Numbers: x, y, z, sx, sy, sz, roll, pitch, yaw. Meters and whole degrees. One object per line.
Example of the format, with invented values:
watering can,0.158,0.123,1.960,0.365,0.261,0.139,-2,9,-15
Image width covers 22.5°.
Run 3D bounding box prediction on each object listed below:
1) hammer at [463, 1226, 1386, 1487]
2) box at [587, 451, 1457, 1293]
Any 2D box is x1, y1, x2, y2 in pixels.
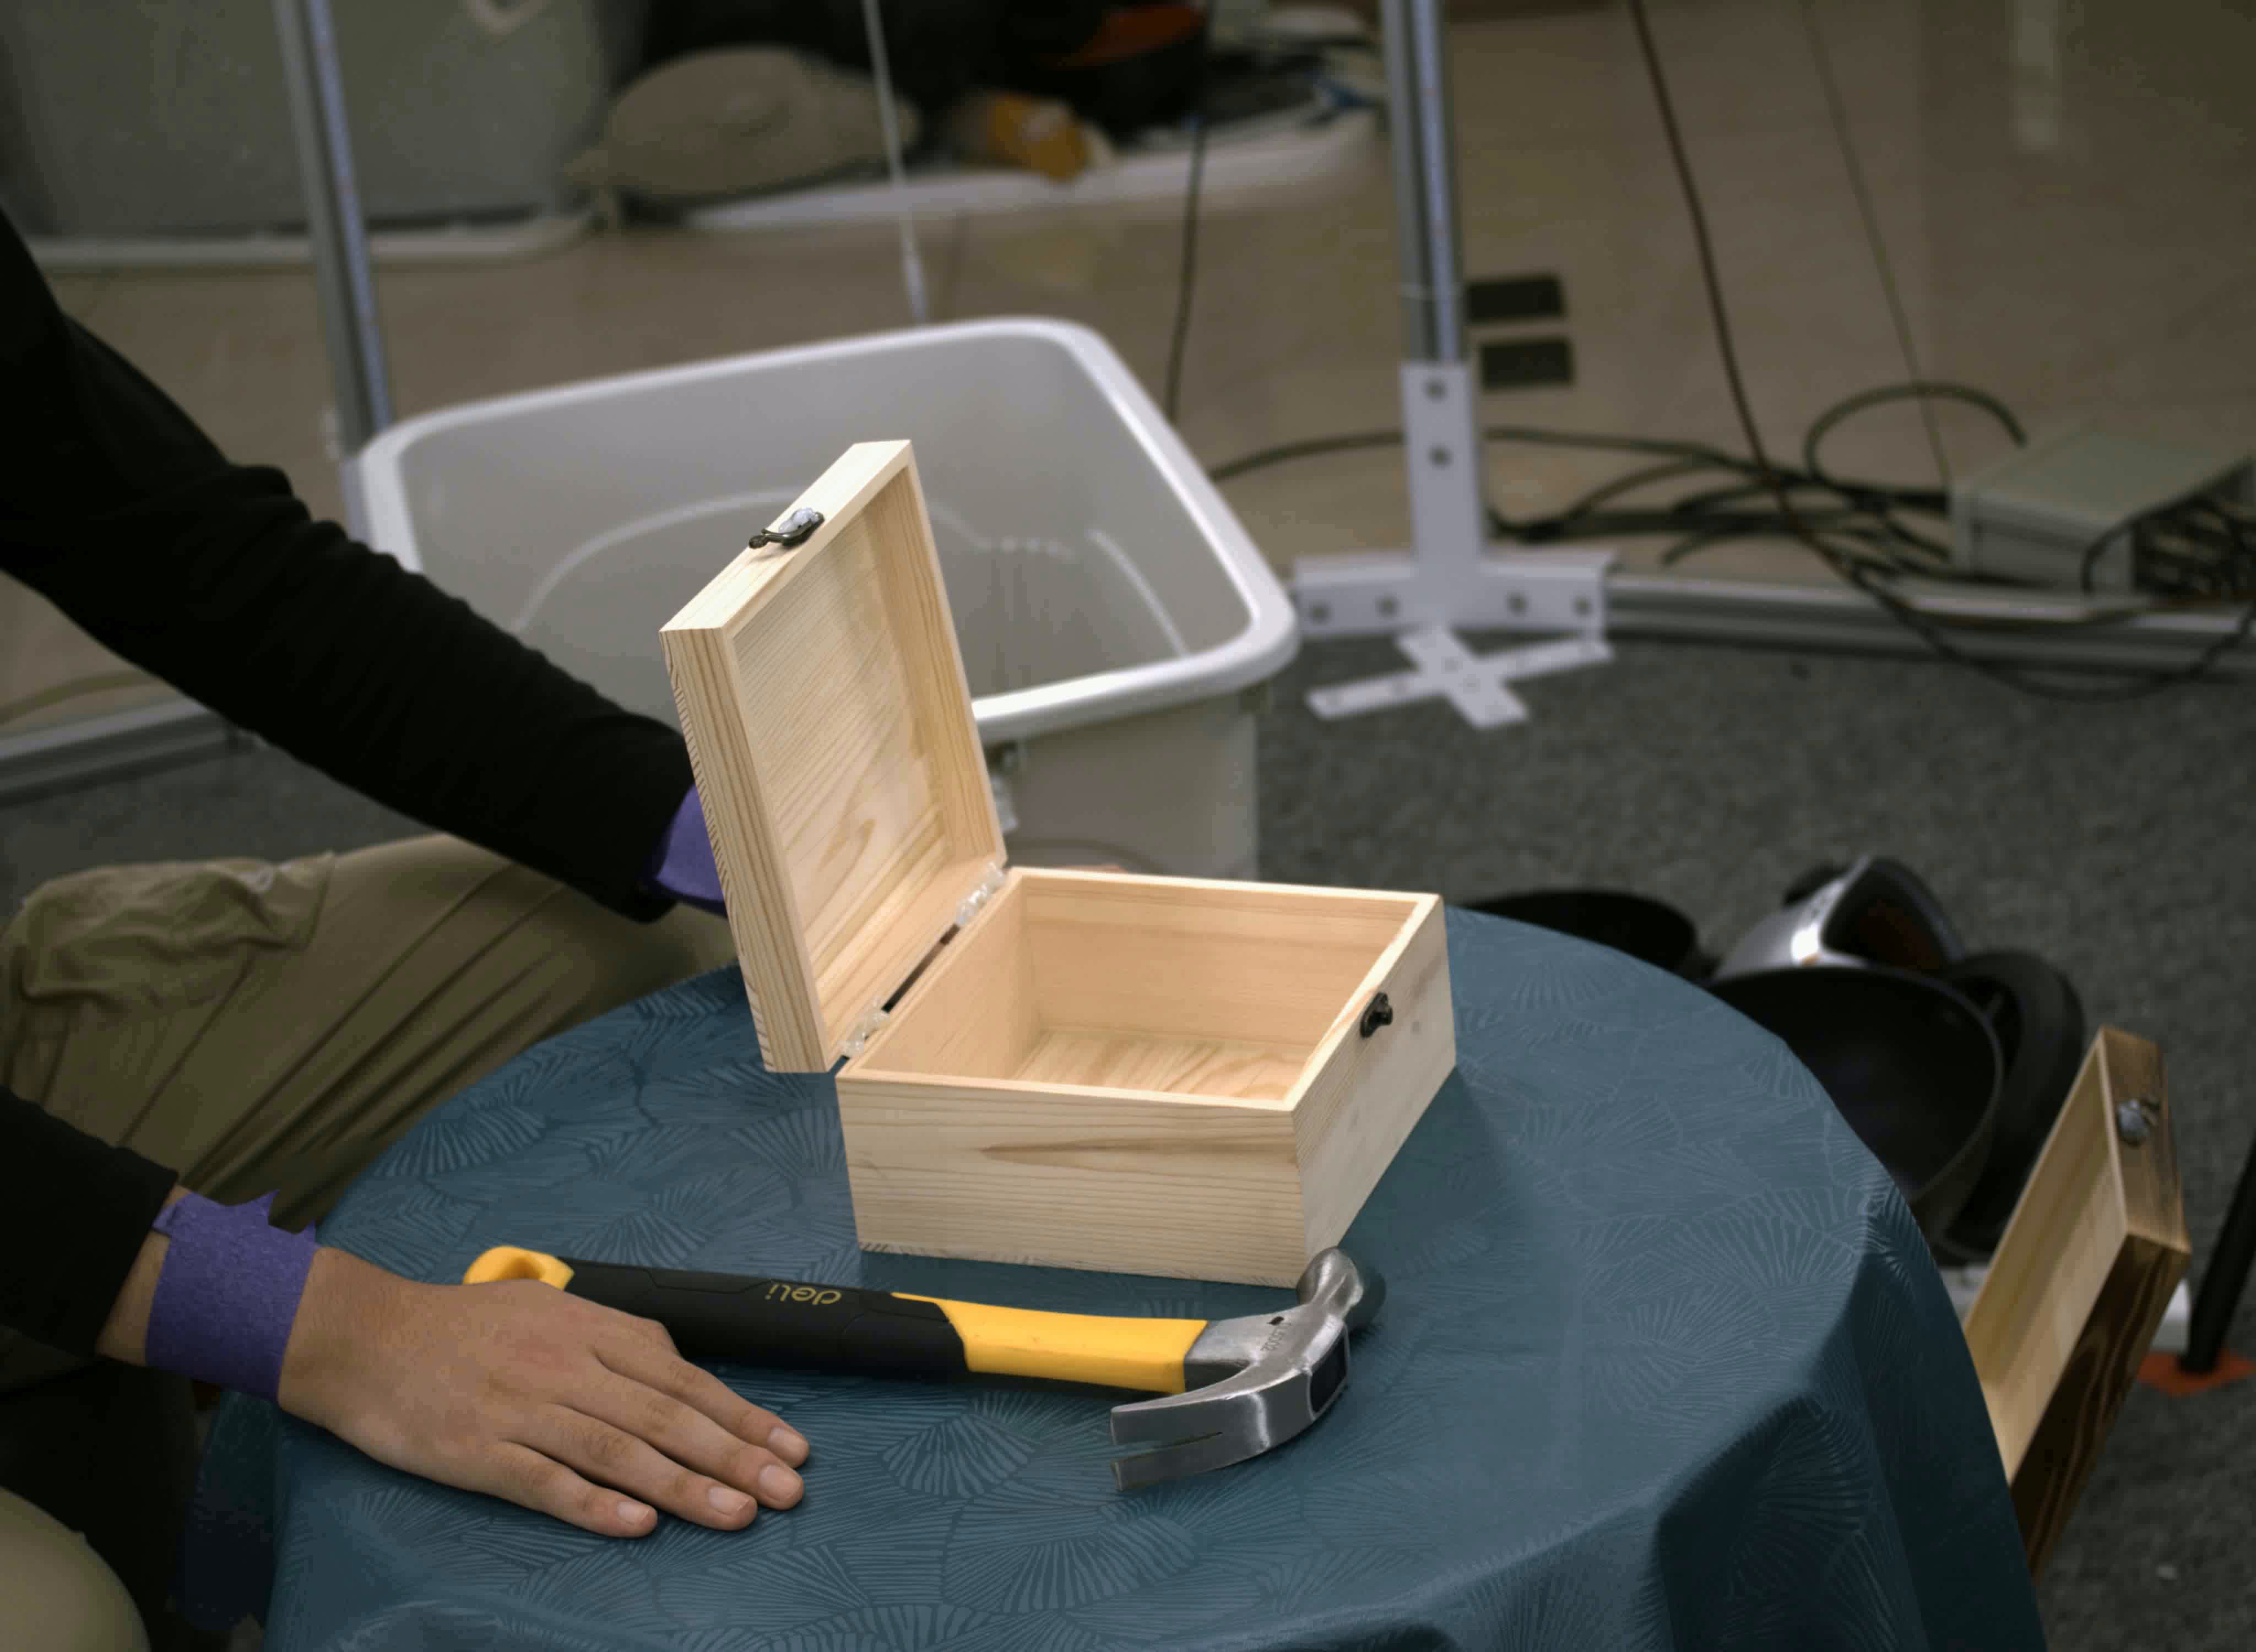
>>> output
hammer,-0.086,0.177,2.044,0.337,0.033,0.129,5,27,21
box,-0.030,0.013,2.129,0.264,0.257,0.179,4,29,20
